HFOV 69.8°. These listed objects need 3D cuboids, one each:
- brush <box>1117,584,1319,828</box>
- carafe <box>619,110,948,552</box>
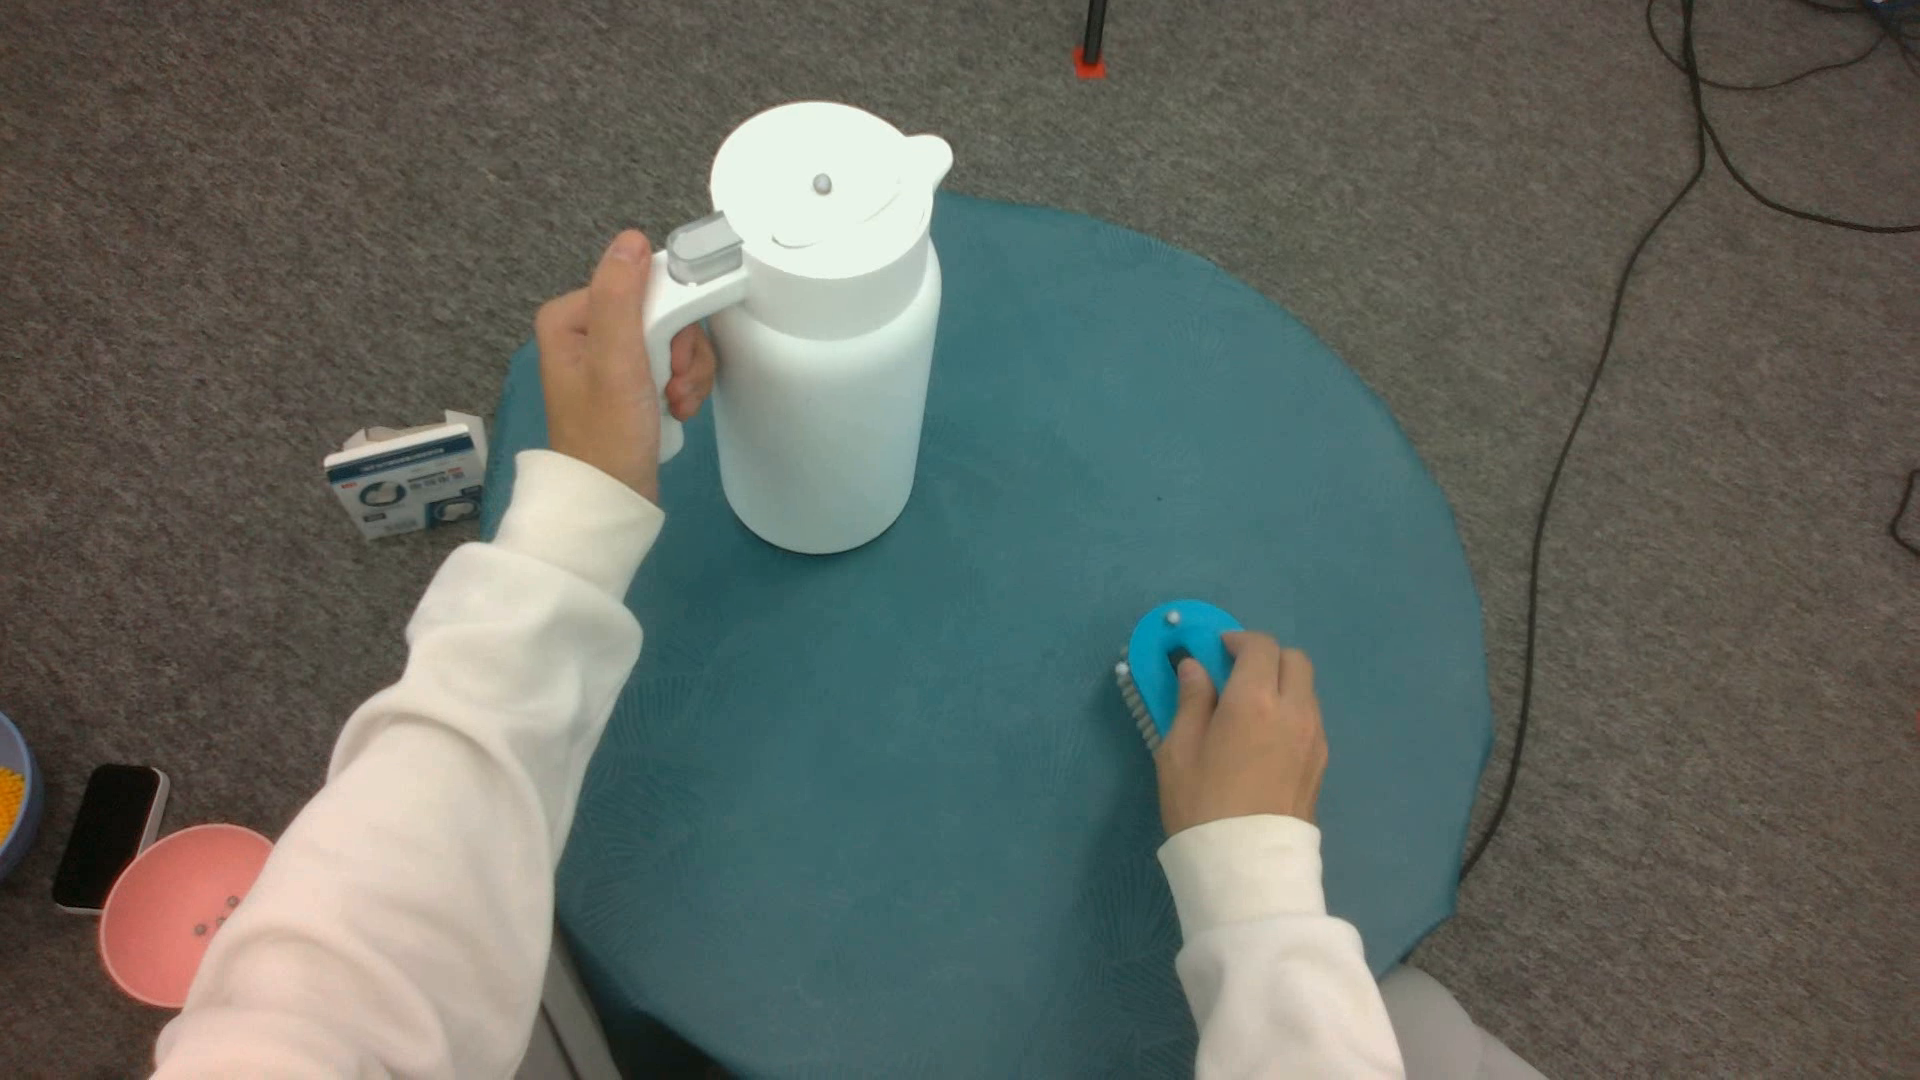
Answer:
[{"bbox_3d":[0.148,0.085,0.764,0.084,0.063,0.142,-17,69,-16],"label":"brush"},{"bbox_3d":[-0.086,-0.090,0.732,0.173,0.268,0.124,-32,73,-19],"label":"carafe"}]
